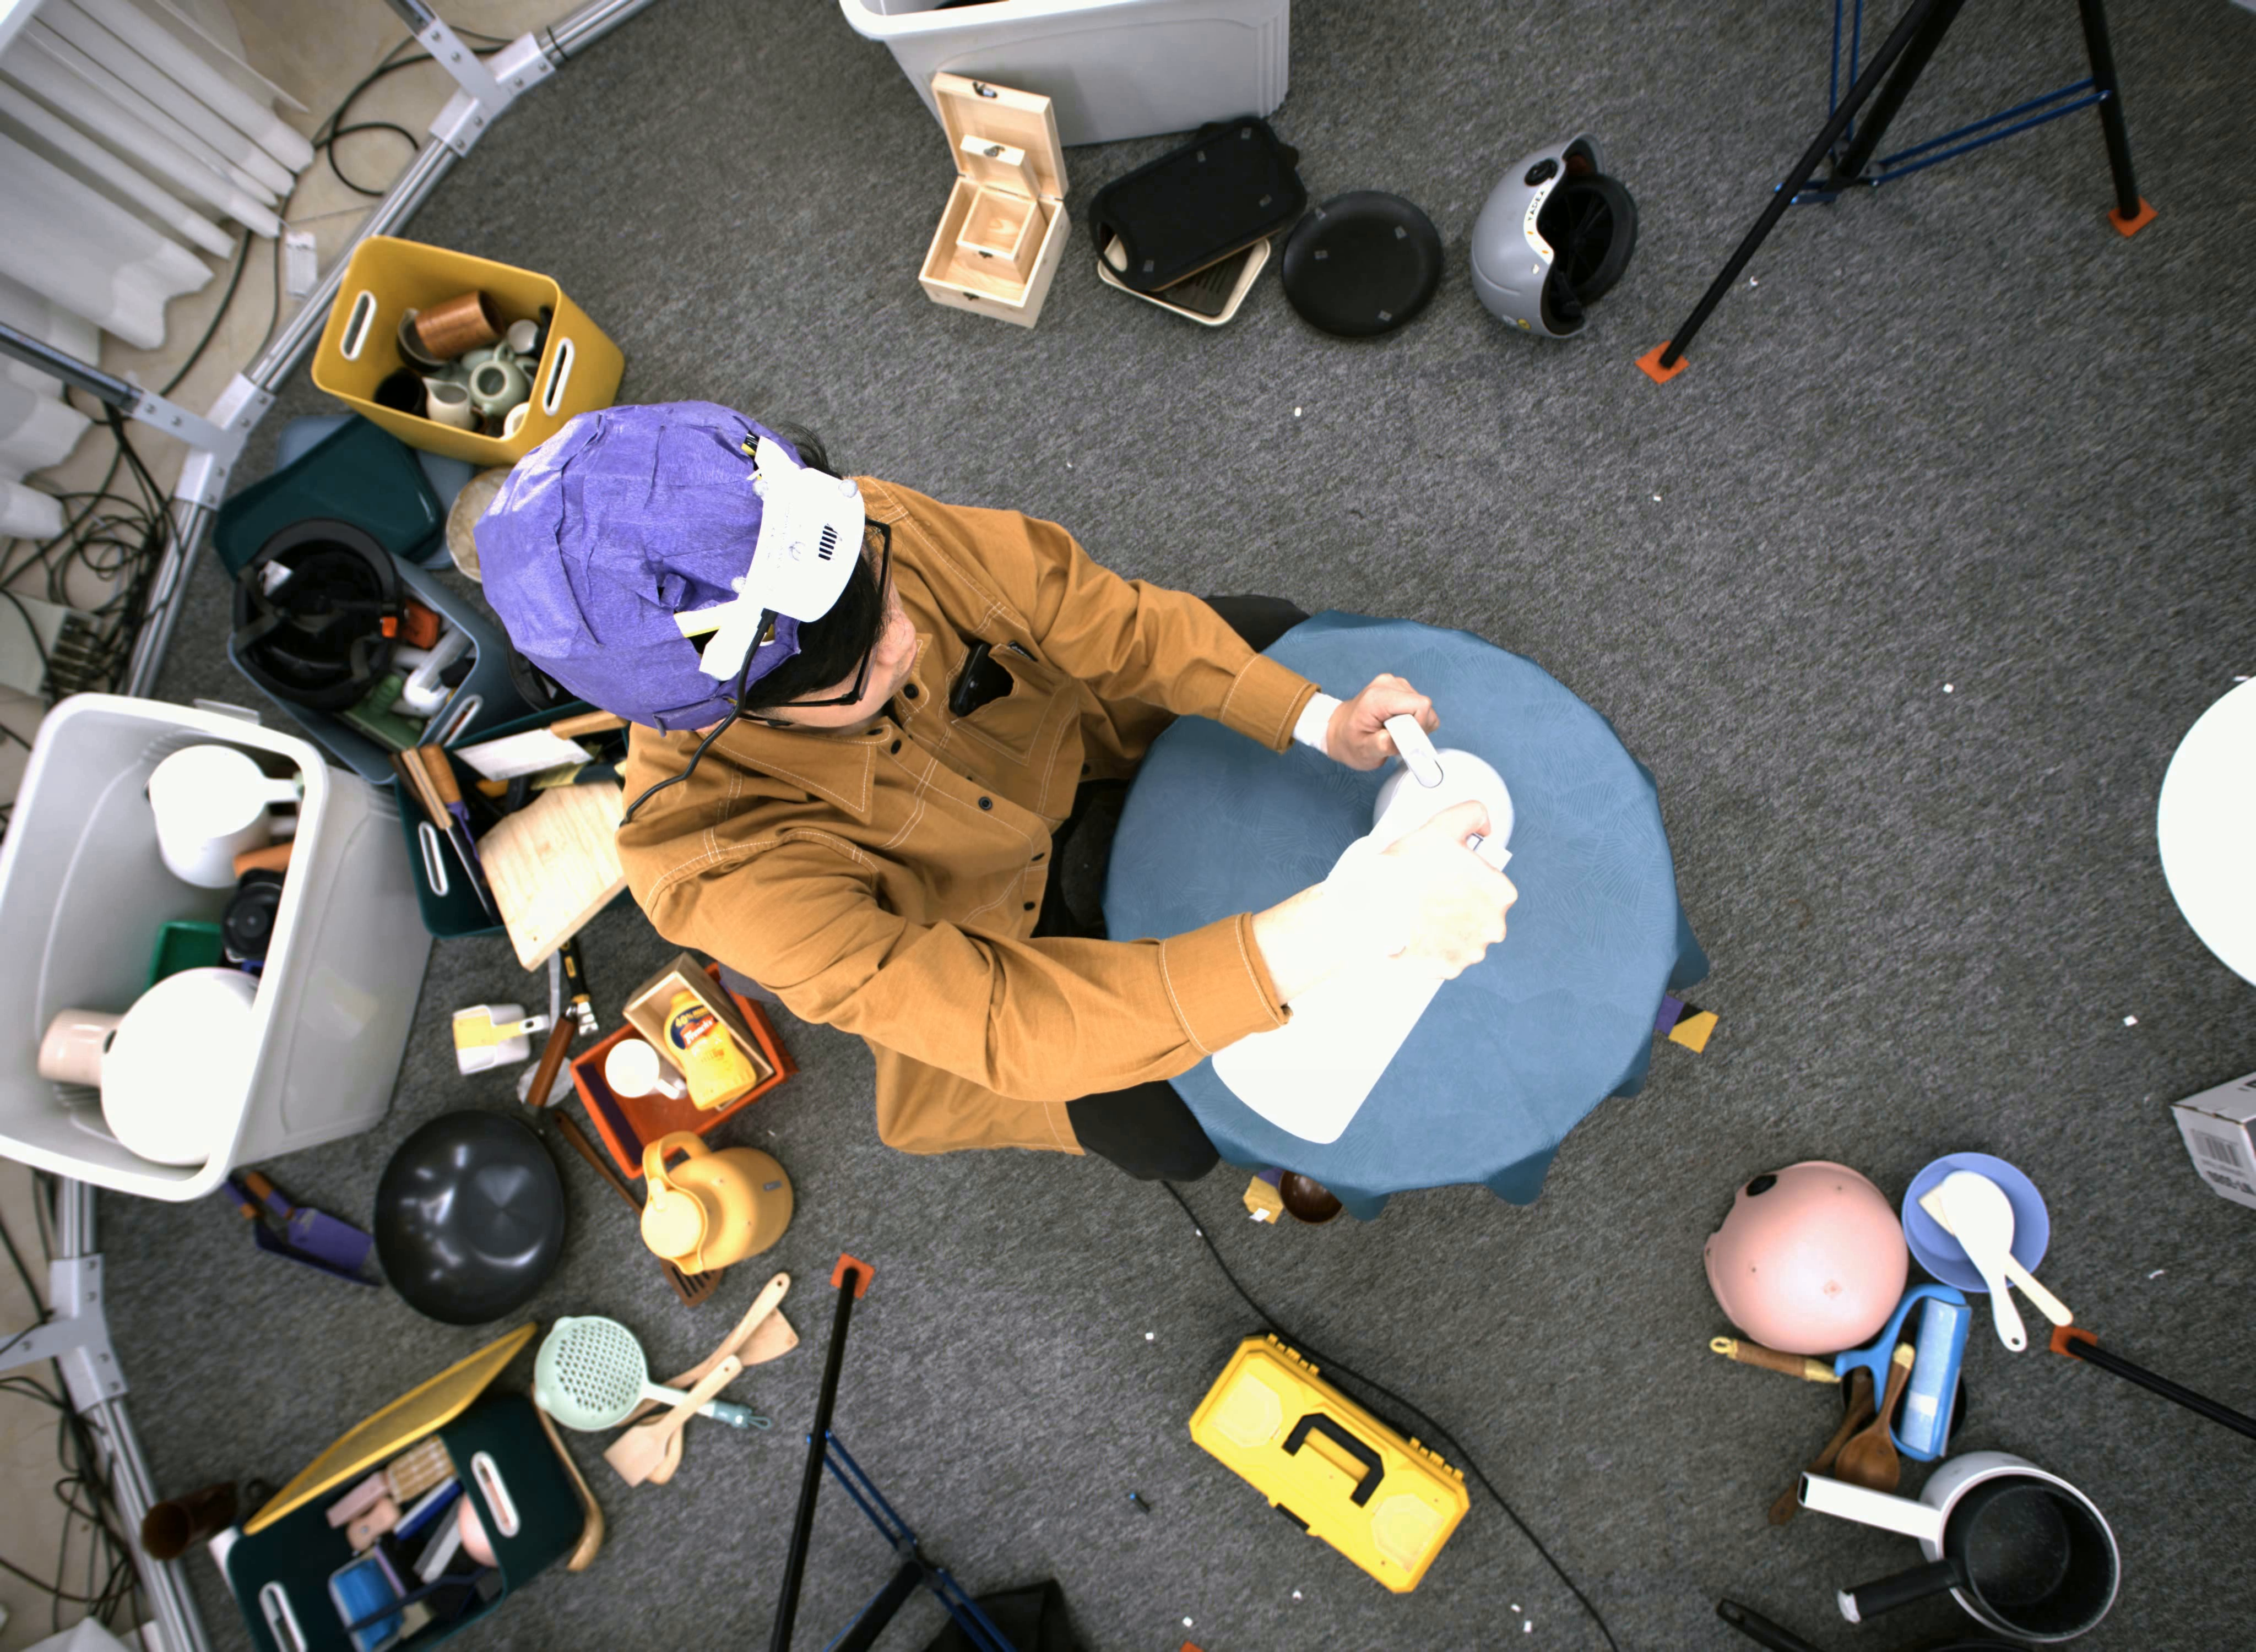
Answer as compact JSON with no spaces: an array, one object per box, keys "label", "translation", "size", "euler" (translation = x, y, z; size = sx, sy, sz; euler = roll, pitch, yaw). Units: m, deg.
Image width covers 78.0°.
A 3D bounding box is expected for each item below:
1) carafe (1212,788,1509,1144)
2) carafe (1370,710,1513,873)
[{"label":"carafe","translation":[0.181,0.110,1.055],"size":[0.124,0.171,0.271],"euler":[33,99,-4]},{"label":"carafe","translation":[0.282,-0.027,1.273],"size":[0.133,0.248,0.167],"euler":[-28,83,8]}]
